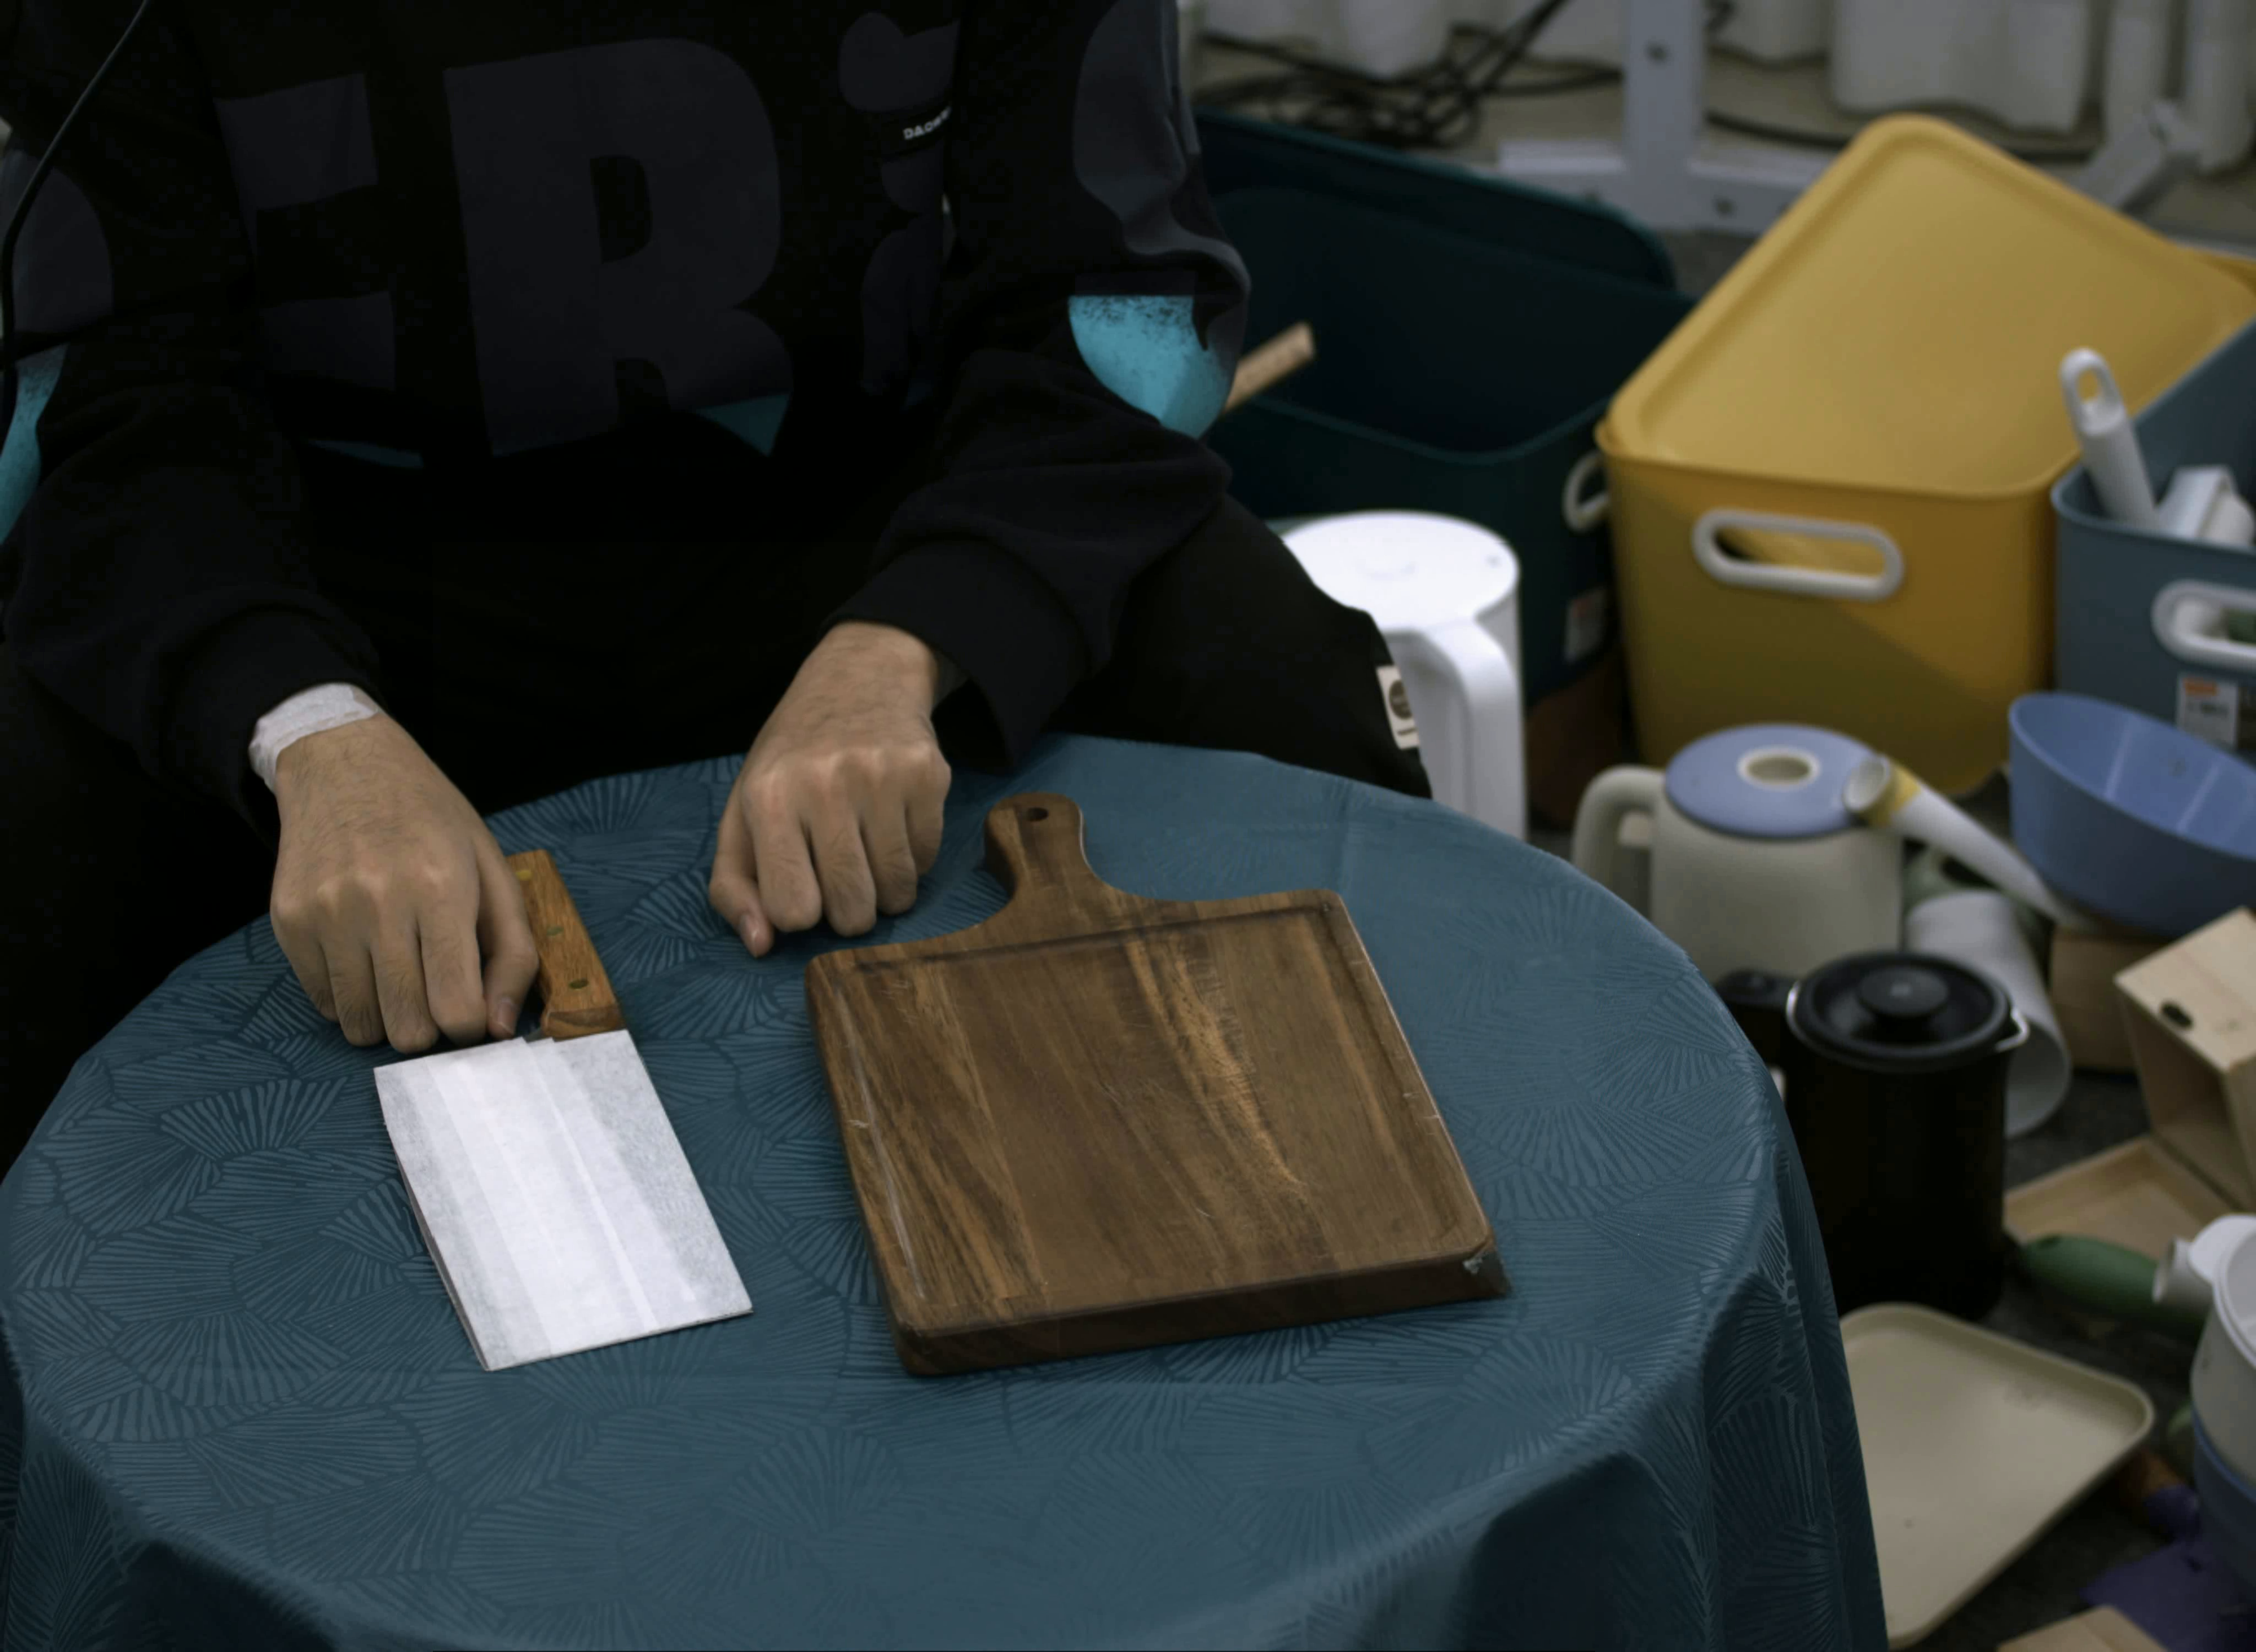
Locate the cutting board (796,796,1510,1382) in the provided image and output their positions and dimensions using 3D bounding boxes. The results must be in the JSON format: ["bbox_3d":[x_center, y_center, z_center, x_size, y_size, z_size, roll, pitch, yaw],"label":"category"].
[{"bbox_3d":[-0.006,0.076,1.928,0.201,0.023,0.356,-7,28,-8],"label":"cutting board"}]

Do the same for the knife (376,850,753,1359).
[{"bbox_3d":[-0.206,0.094,1.920,0.093,0.021,0.309,-12,31,-13],"label":"knife"}]
